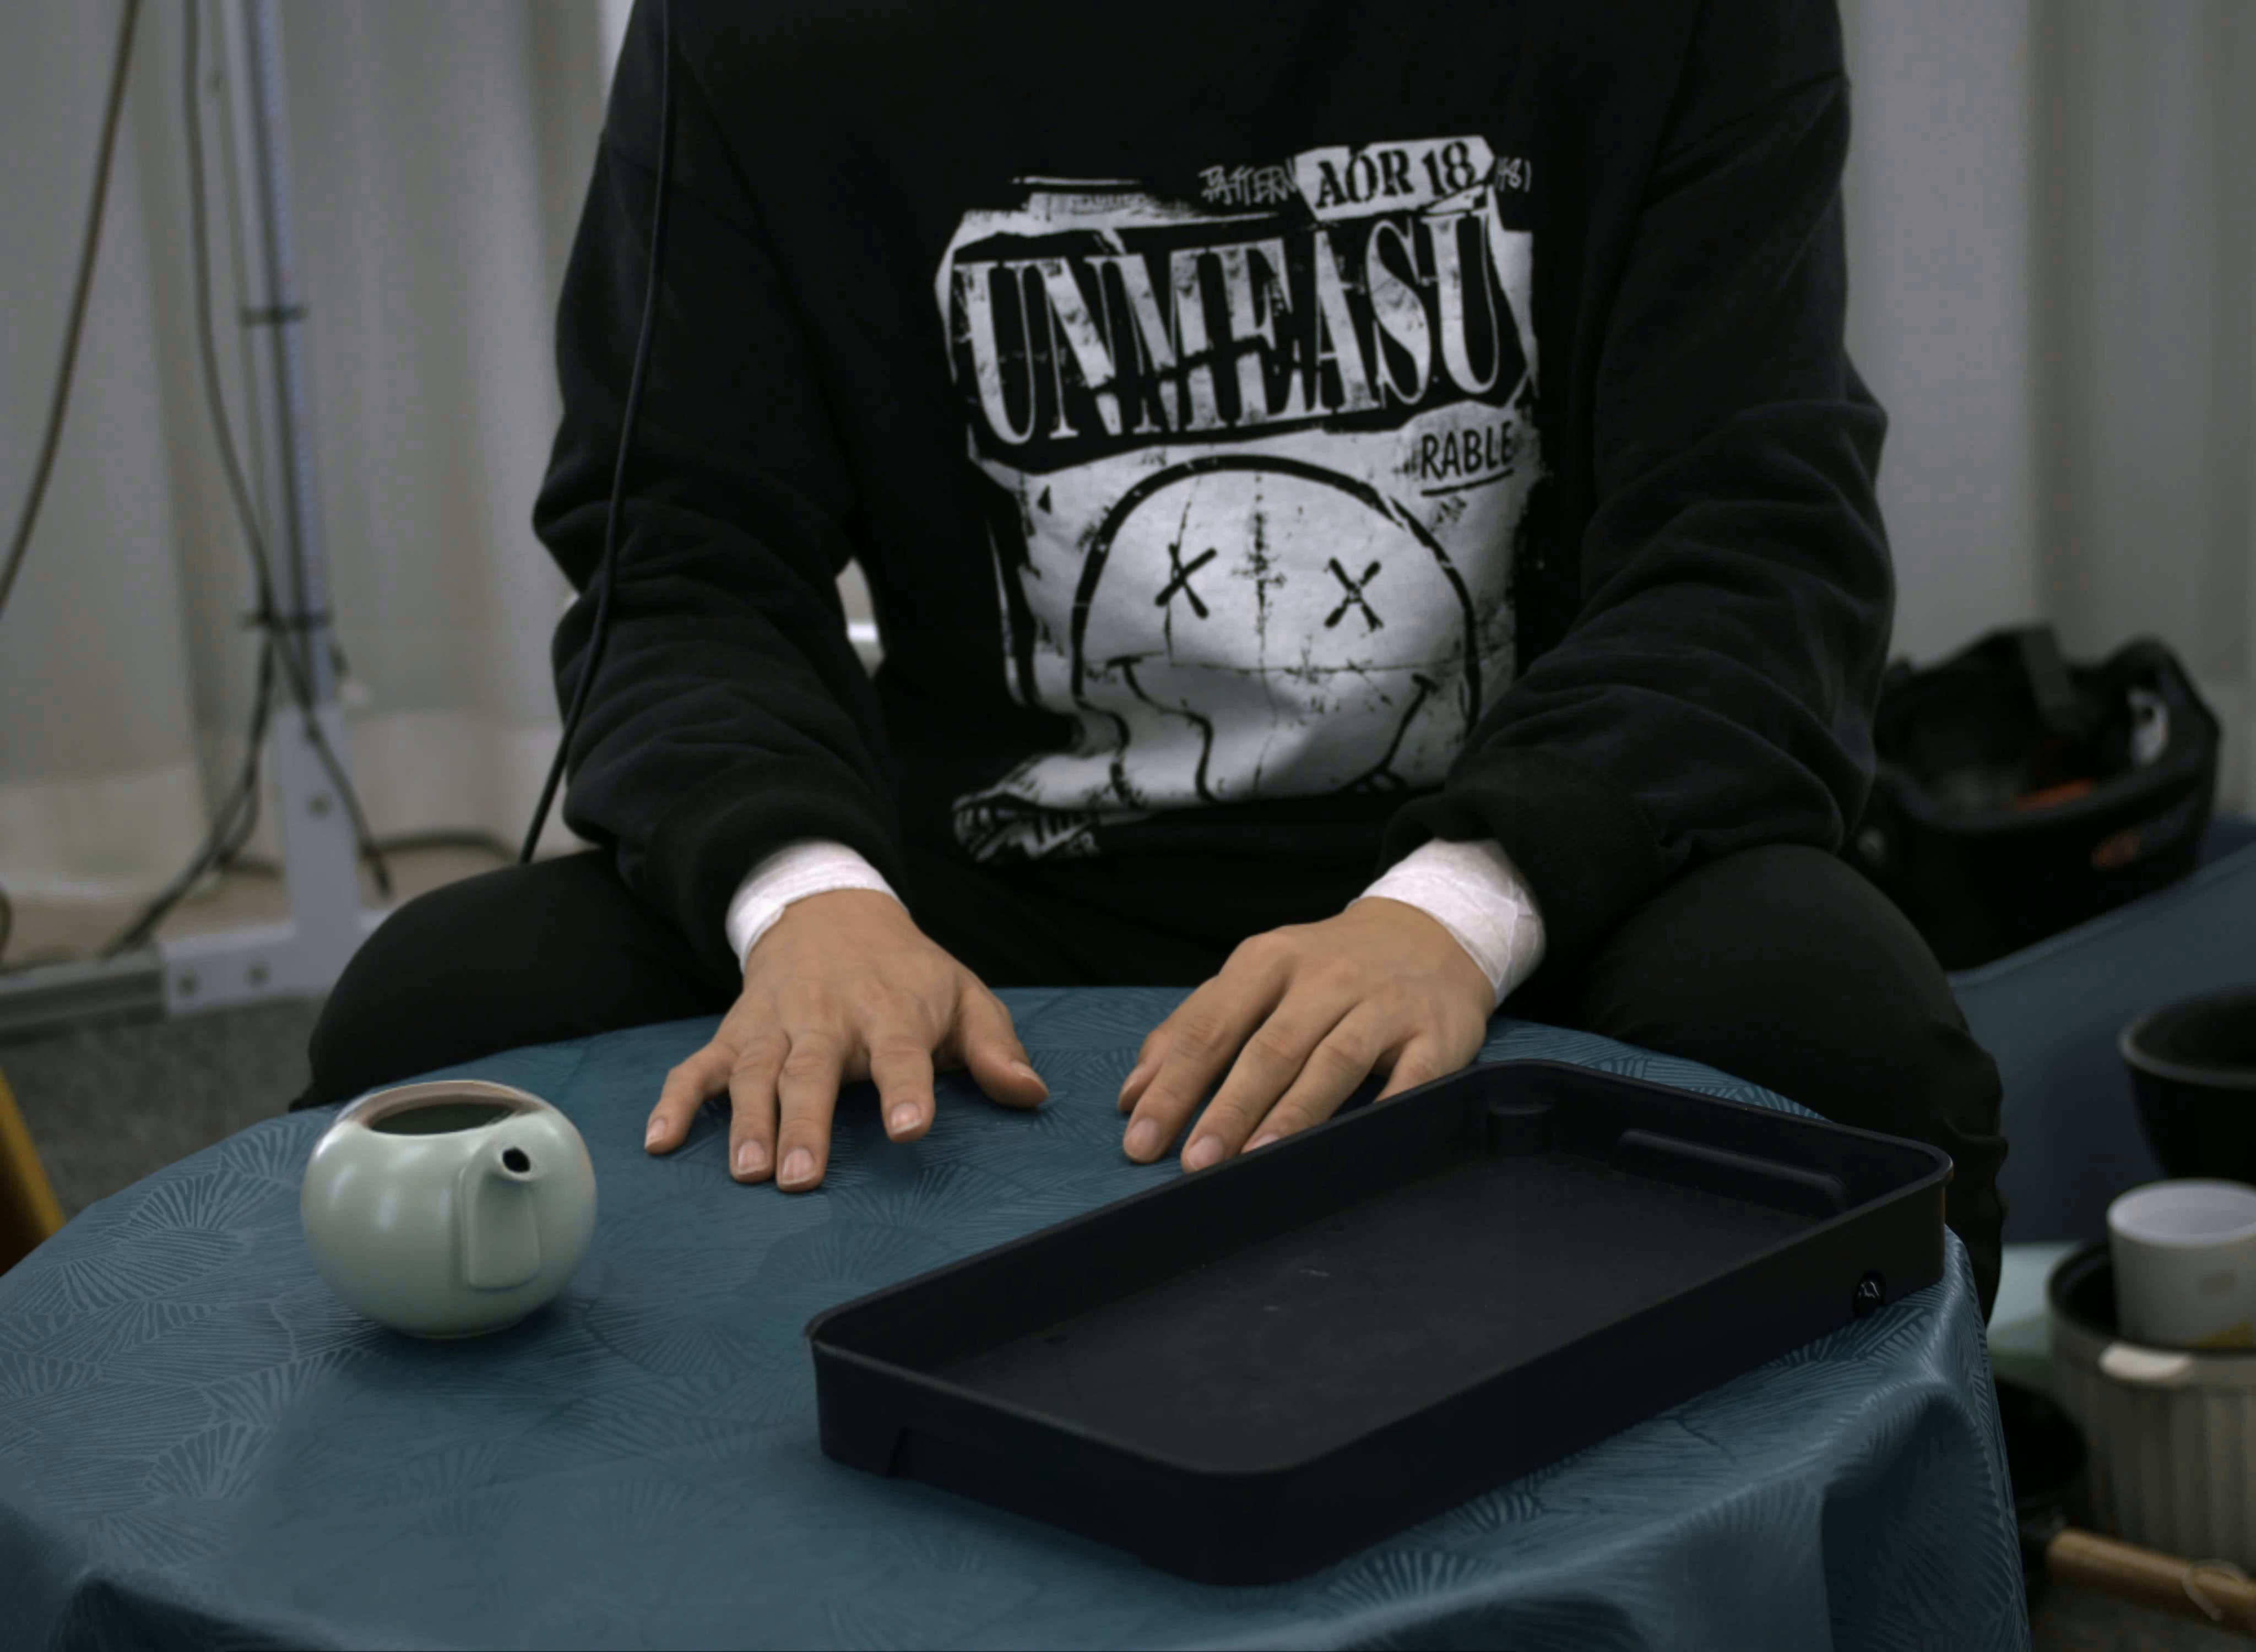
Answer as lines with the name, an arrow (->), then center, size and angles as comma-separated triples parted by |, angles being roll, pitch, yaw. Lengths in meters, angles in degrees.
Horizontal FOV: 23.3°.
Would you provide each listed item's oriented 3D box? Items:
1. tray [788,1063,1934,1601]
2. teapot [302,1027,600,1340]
tray -> 0.072, 0.136, 1.551 | 0.185, 0.037, 0.317 | 11, 20, 42
teapot -> -0.201, 0.111, 1.625 | 0.088, 0.074, 0.145 | -9, 17, -23
